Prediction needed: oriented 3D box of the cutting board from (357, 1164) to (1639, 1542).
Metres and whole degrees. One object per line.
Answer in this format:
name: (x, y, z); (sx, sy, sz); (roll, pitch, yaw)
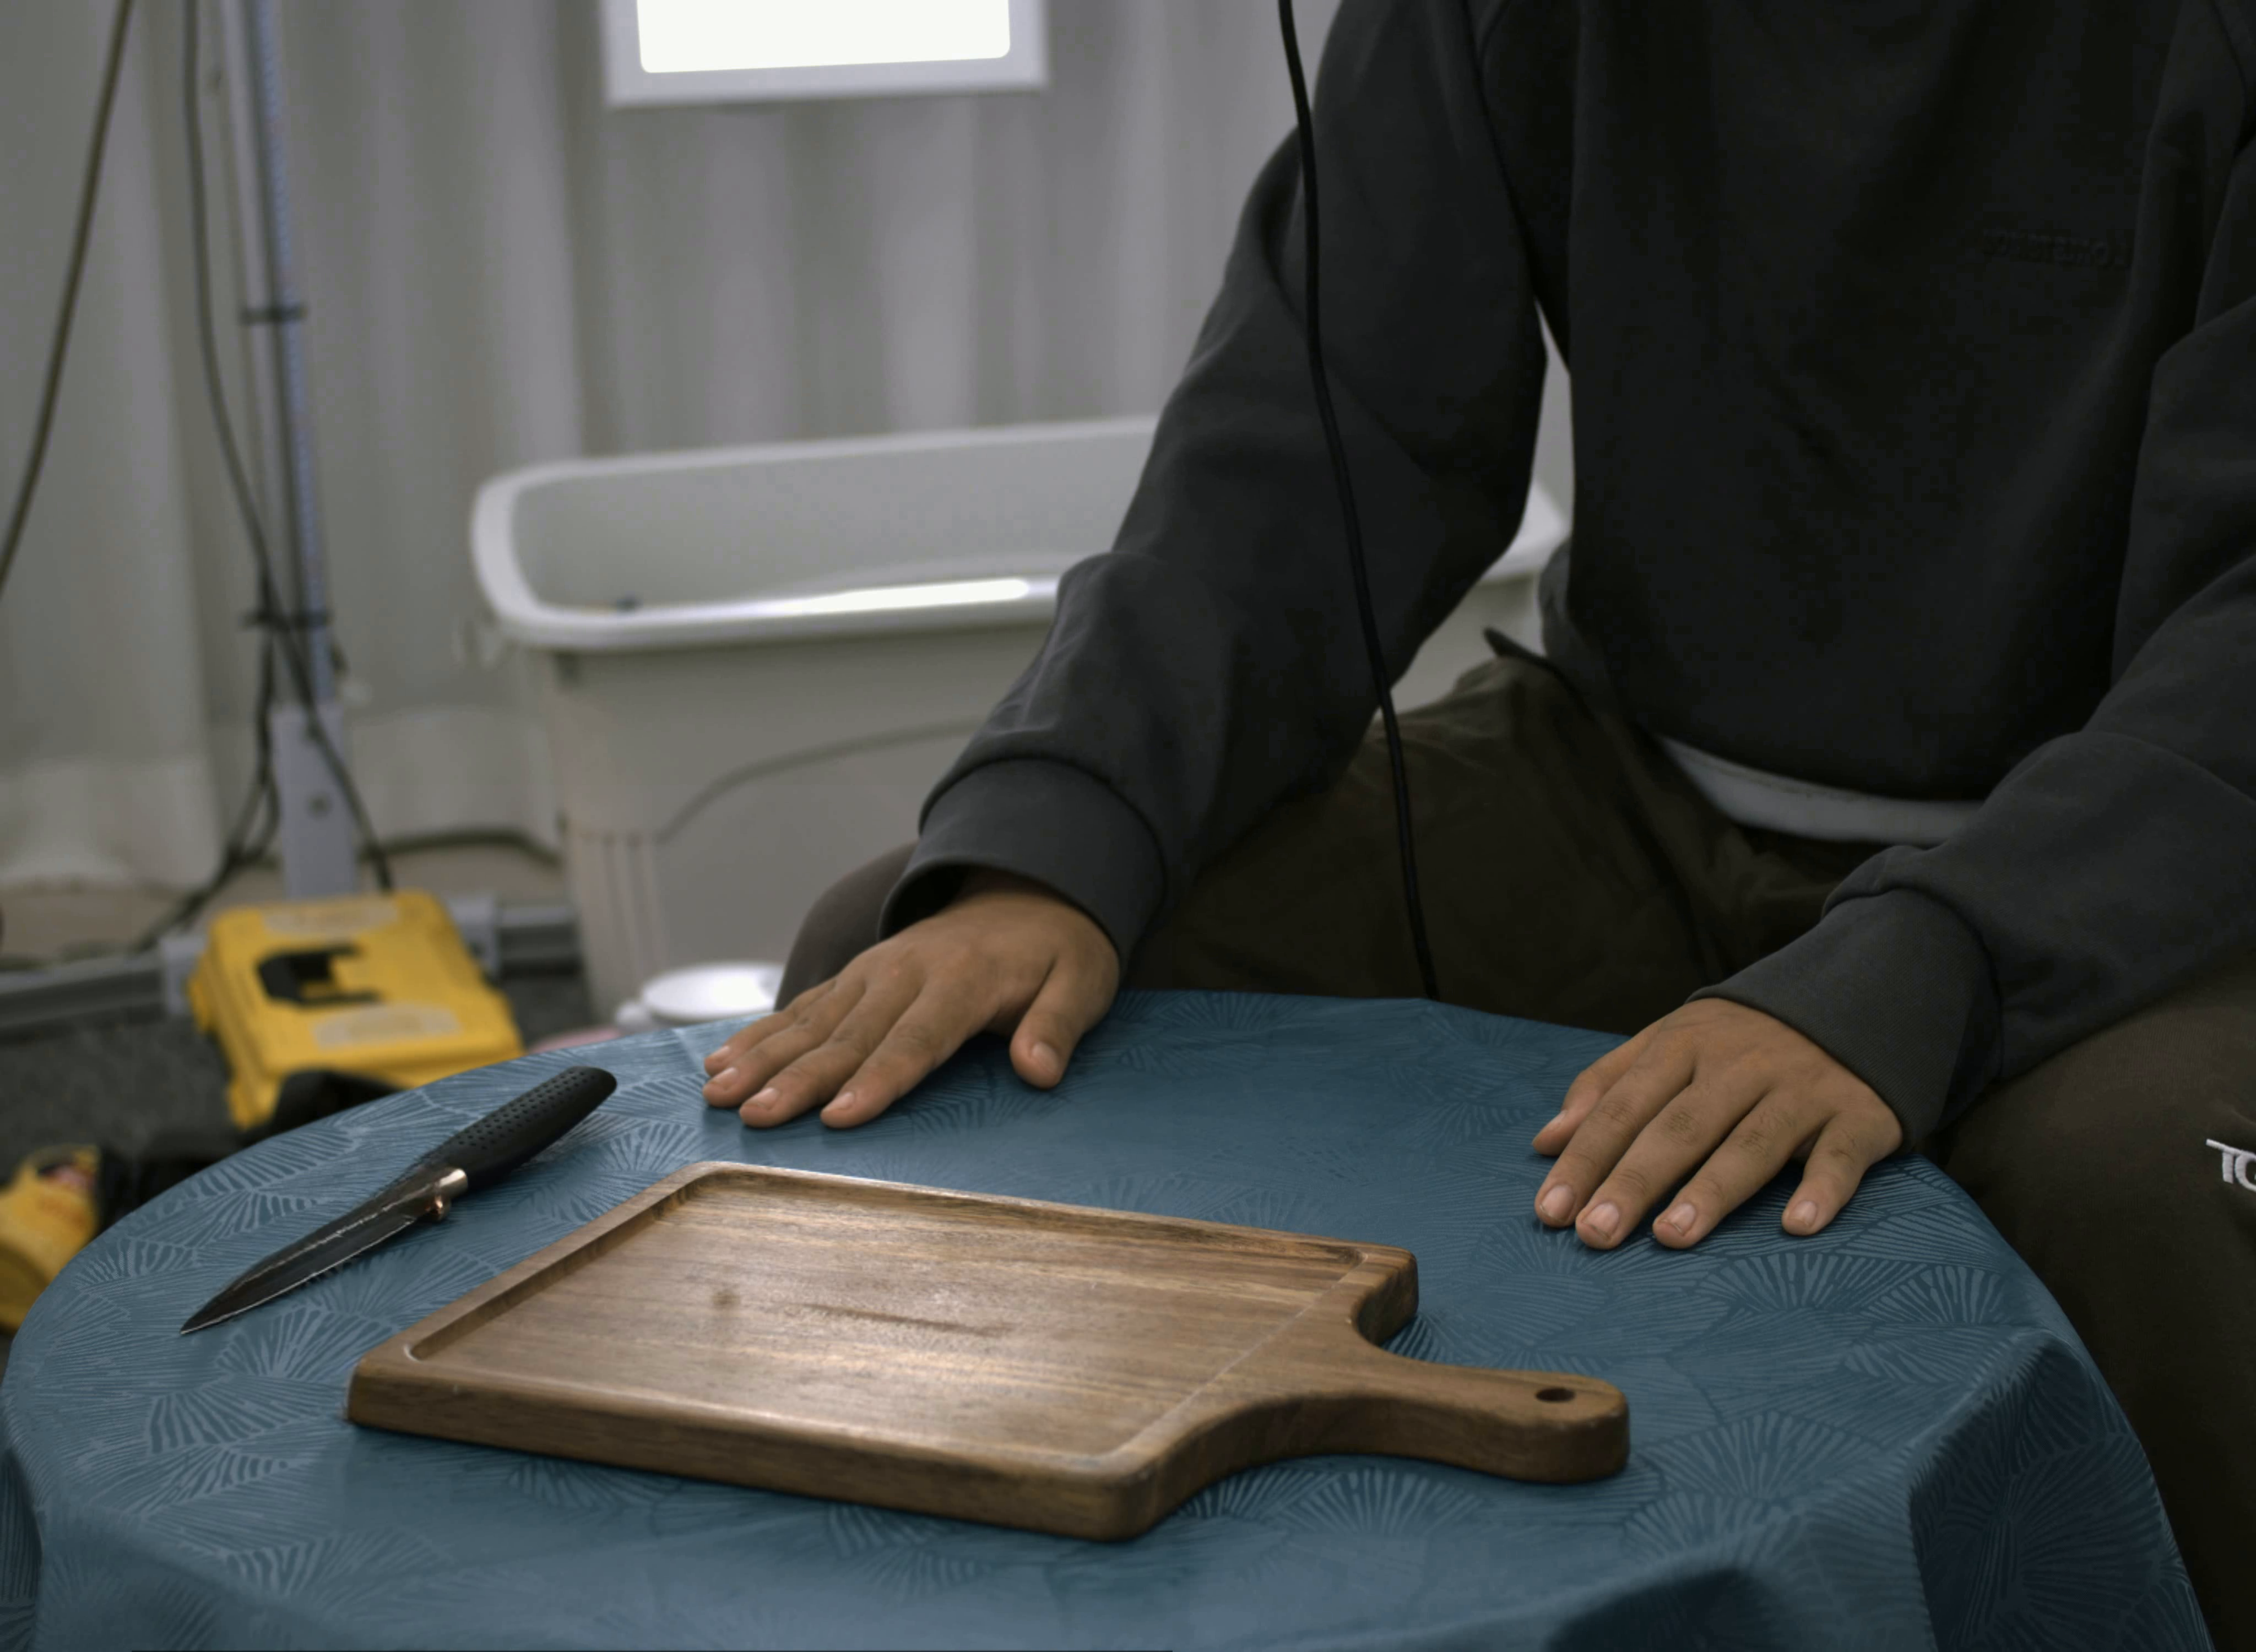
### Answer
cutting board: (-0.022, 0.150, 1.546); (0.353, 0.023, 0.201); (5, 17, 26)

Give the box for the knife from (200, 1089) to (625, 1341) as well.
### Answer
knife: (-0.224, 0.121, 1.713); (0.026, 0.017, 0.226); (11, 20, 27)
